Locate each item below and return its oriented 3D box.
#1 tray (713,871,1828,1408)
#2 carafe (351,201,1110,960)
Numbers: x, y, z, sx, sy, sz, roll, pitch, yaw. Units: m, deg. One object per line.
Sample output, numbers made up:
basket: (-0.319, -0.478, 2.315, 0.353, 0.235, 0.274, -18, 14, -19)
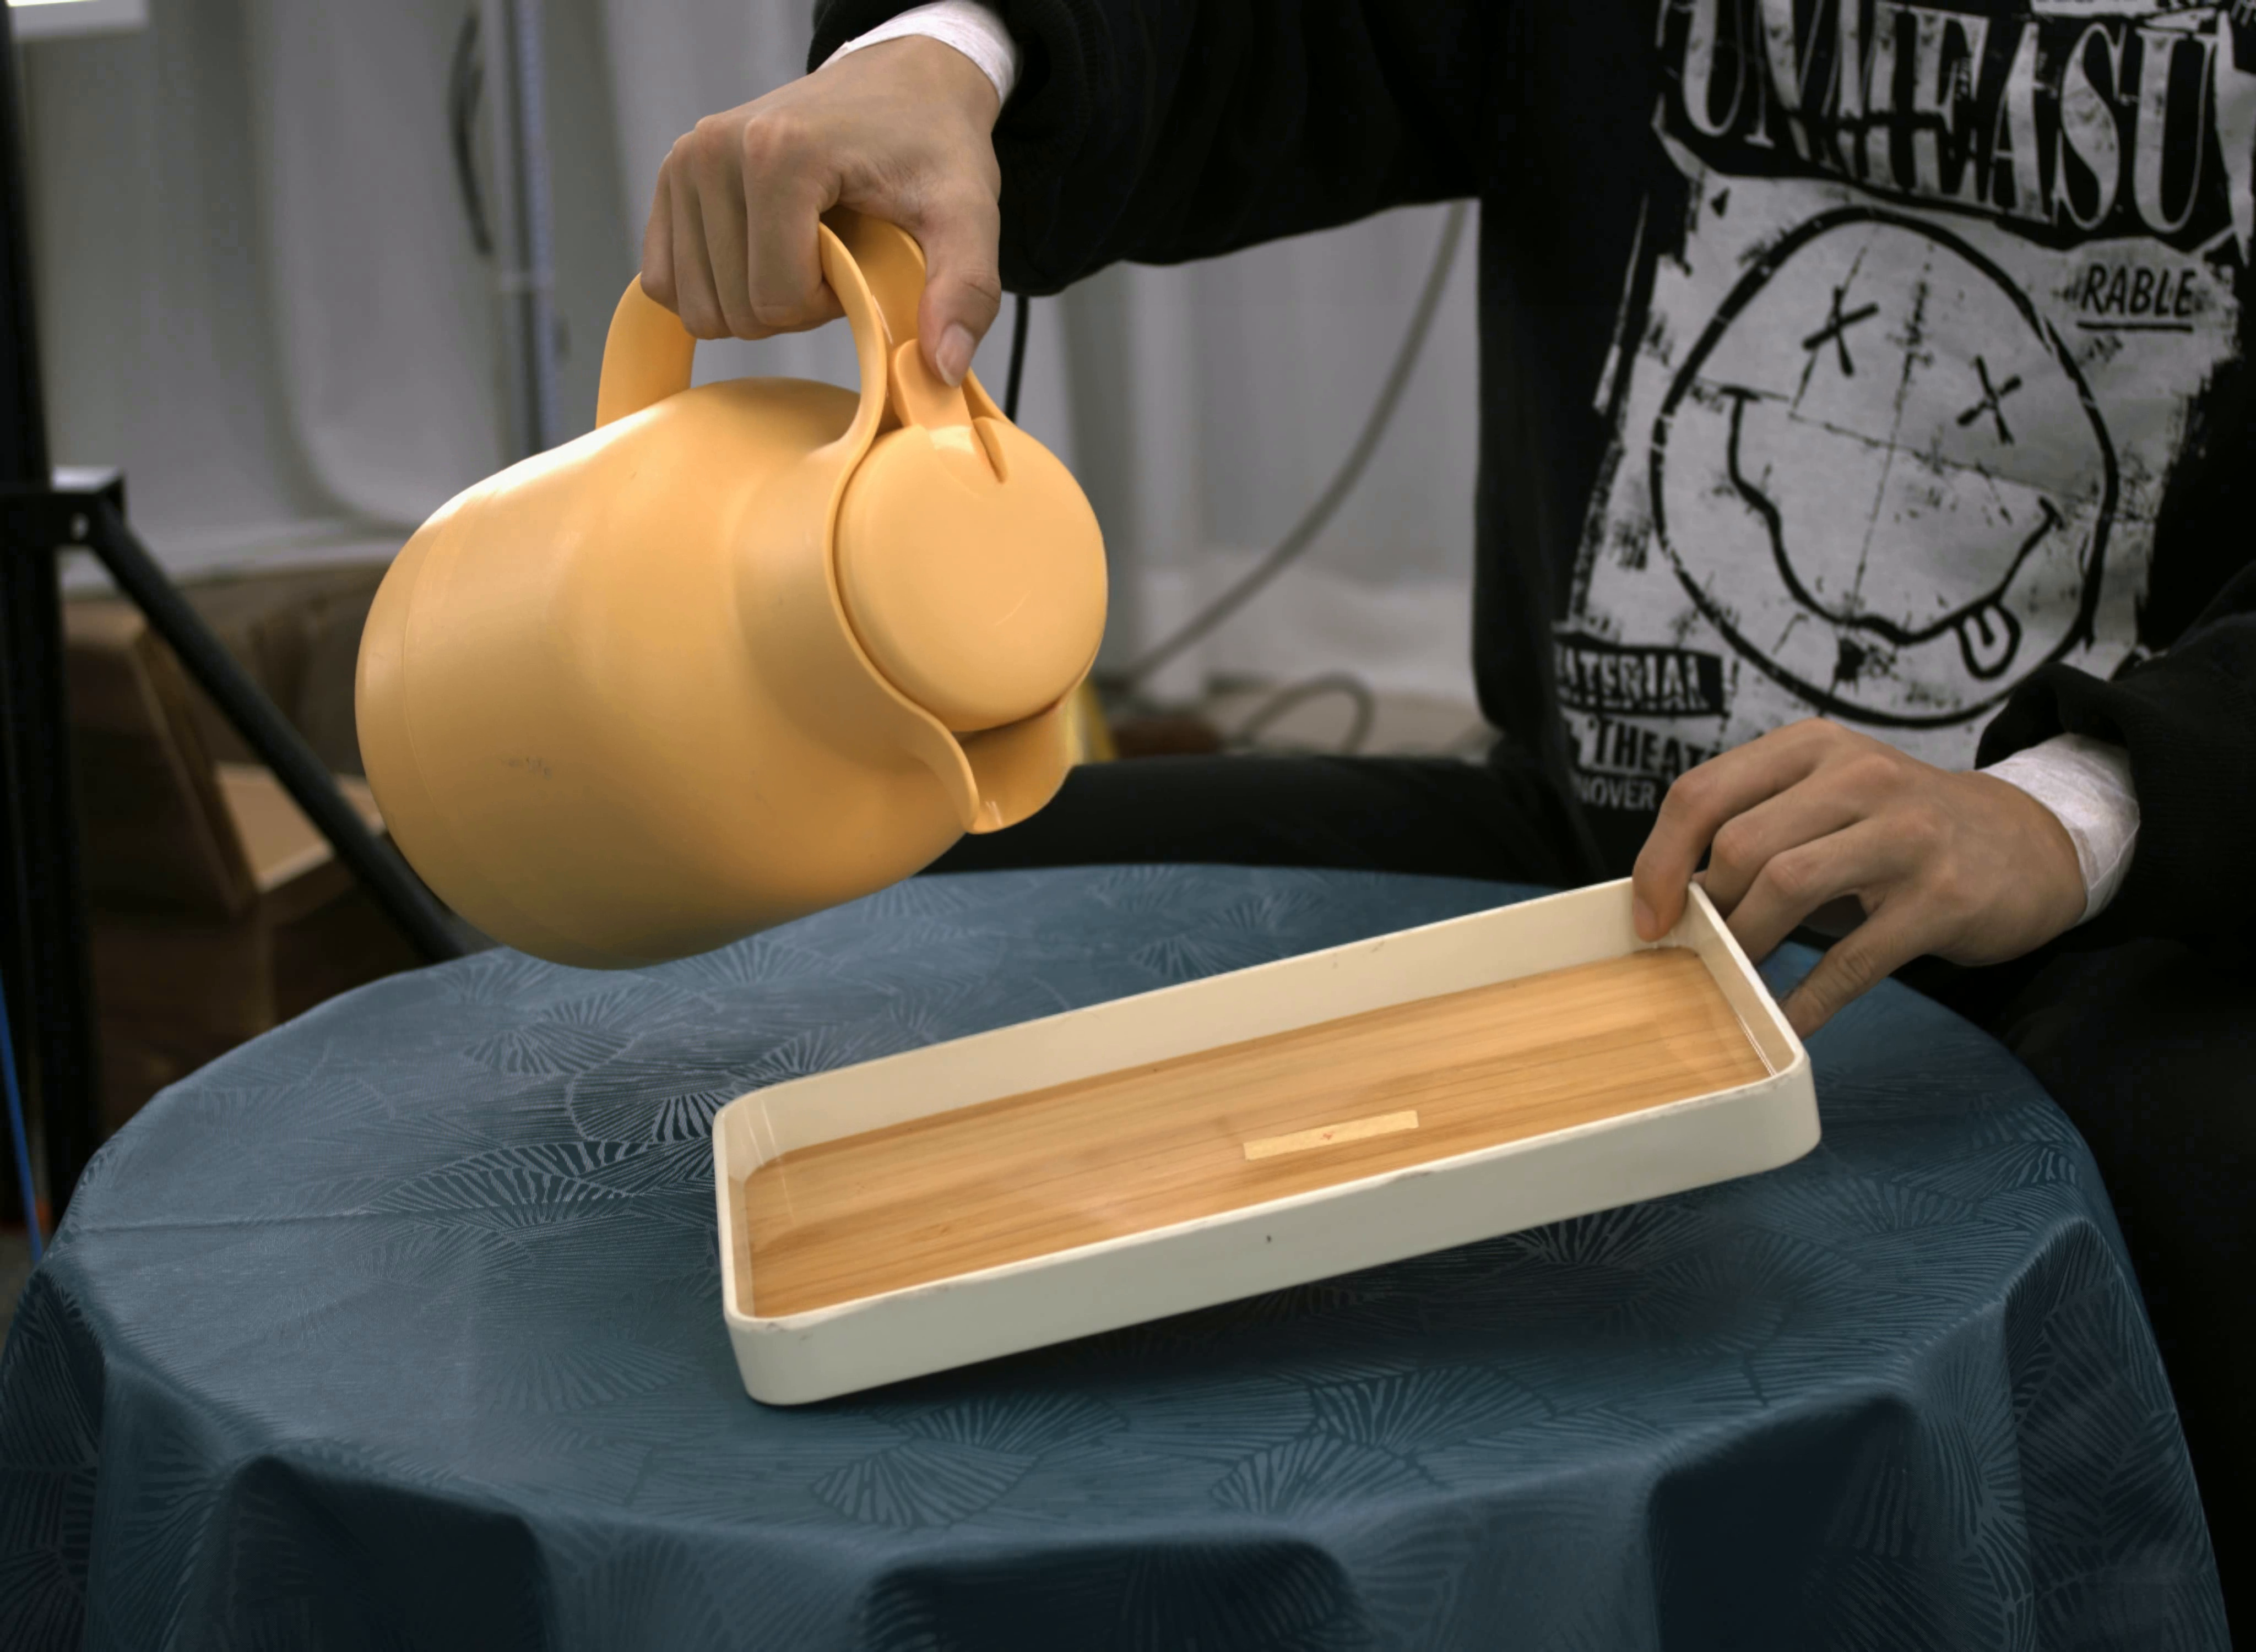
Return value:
tray: (0.033, 0.085, 1.484, 0.299, 0.027, 0.193, -13, 18, 0)
carafe: (-0.114, -0.073, 1.602, 0.159, 0.204, 0.265, -5, -7, -37)
